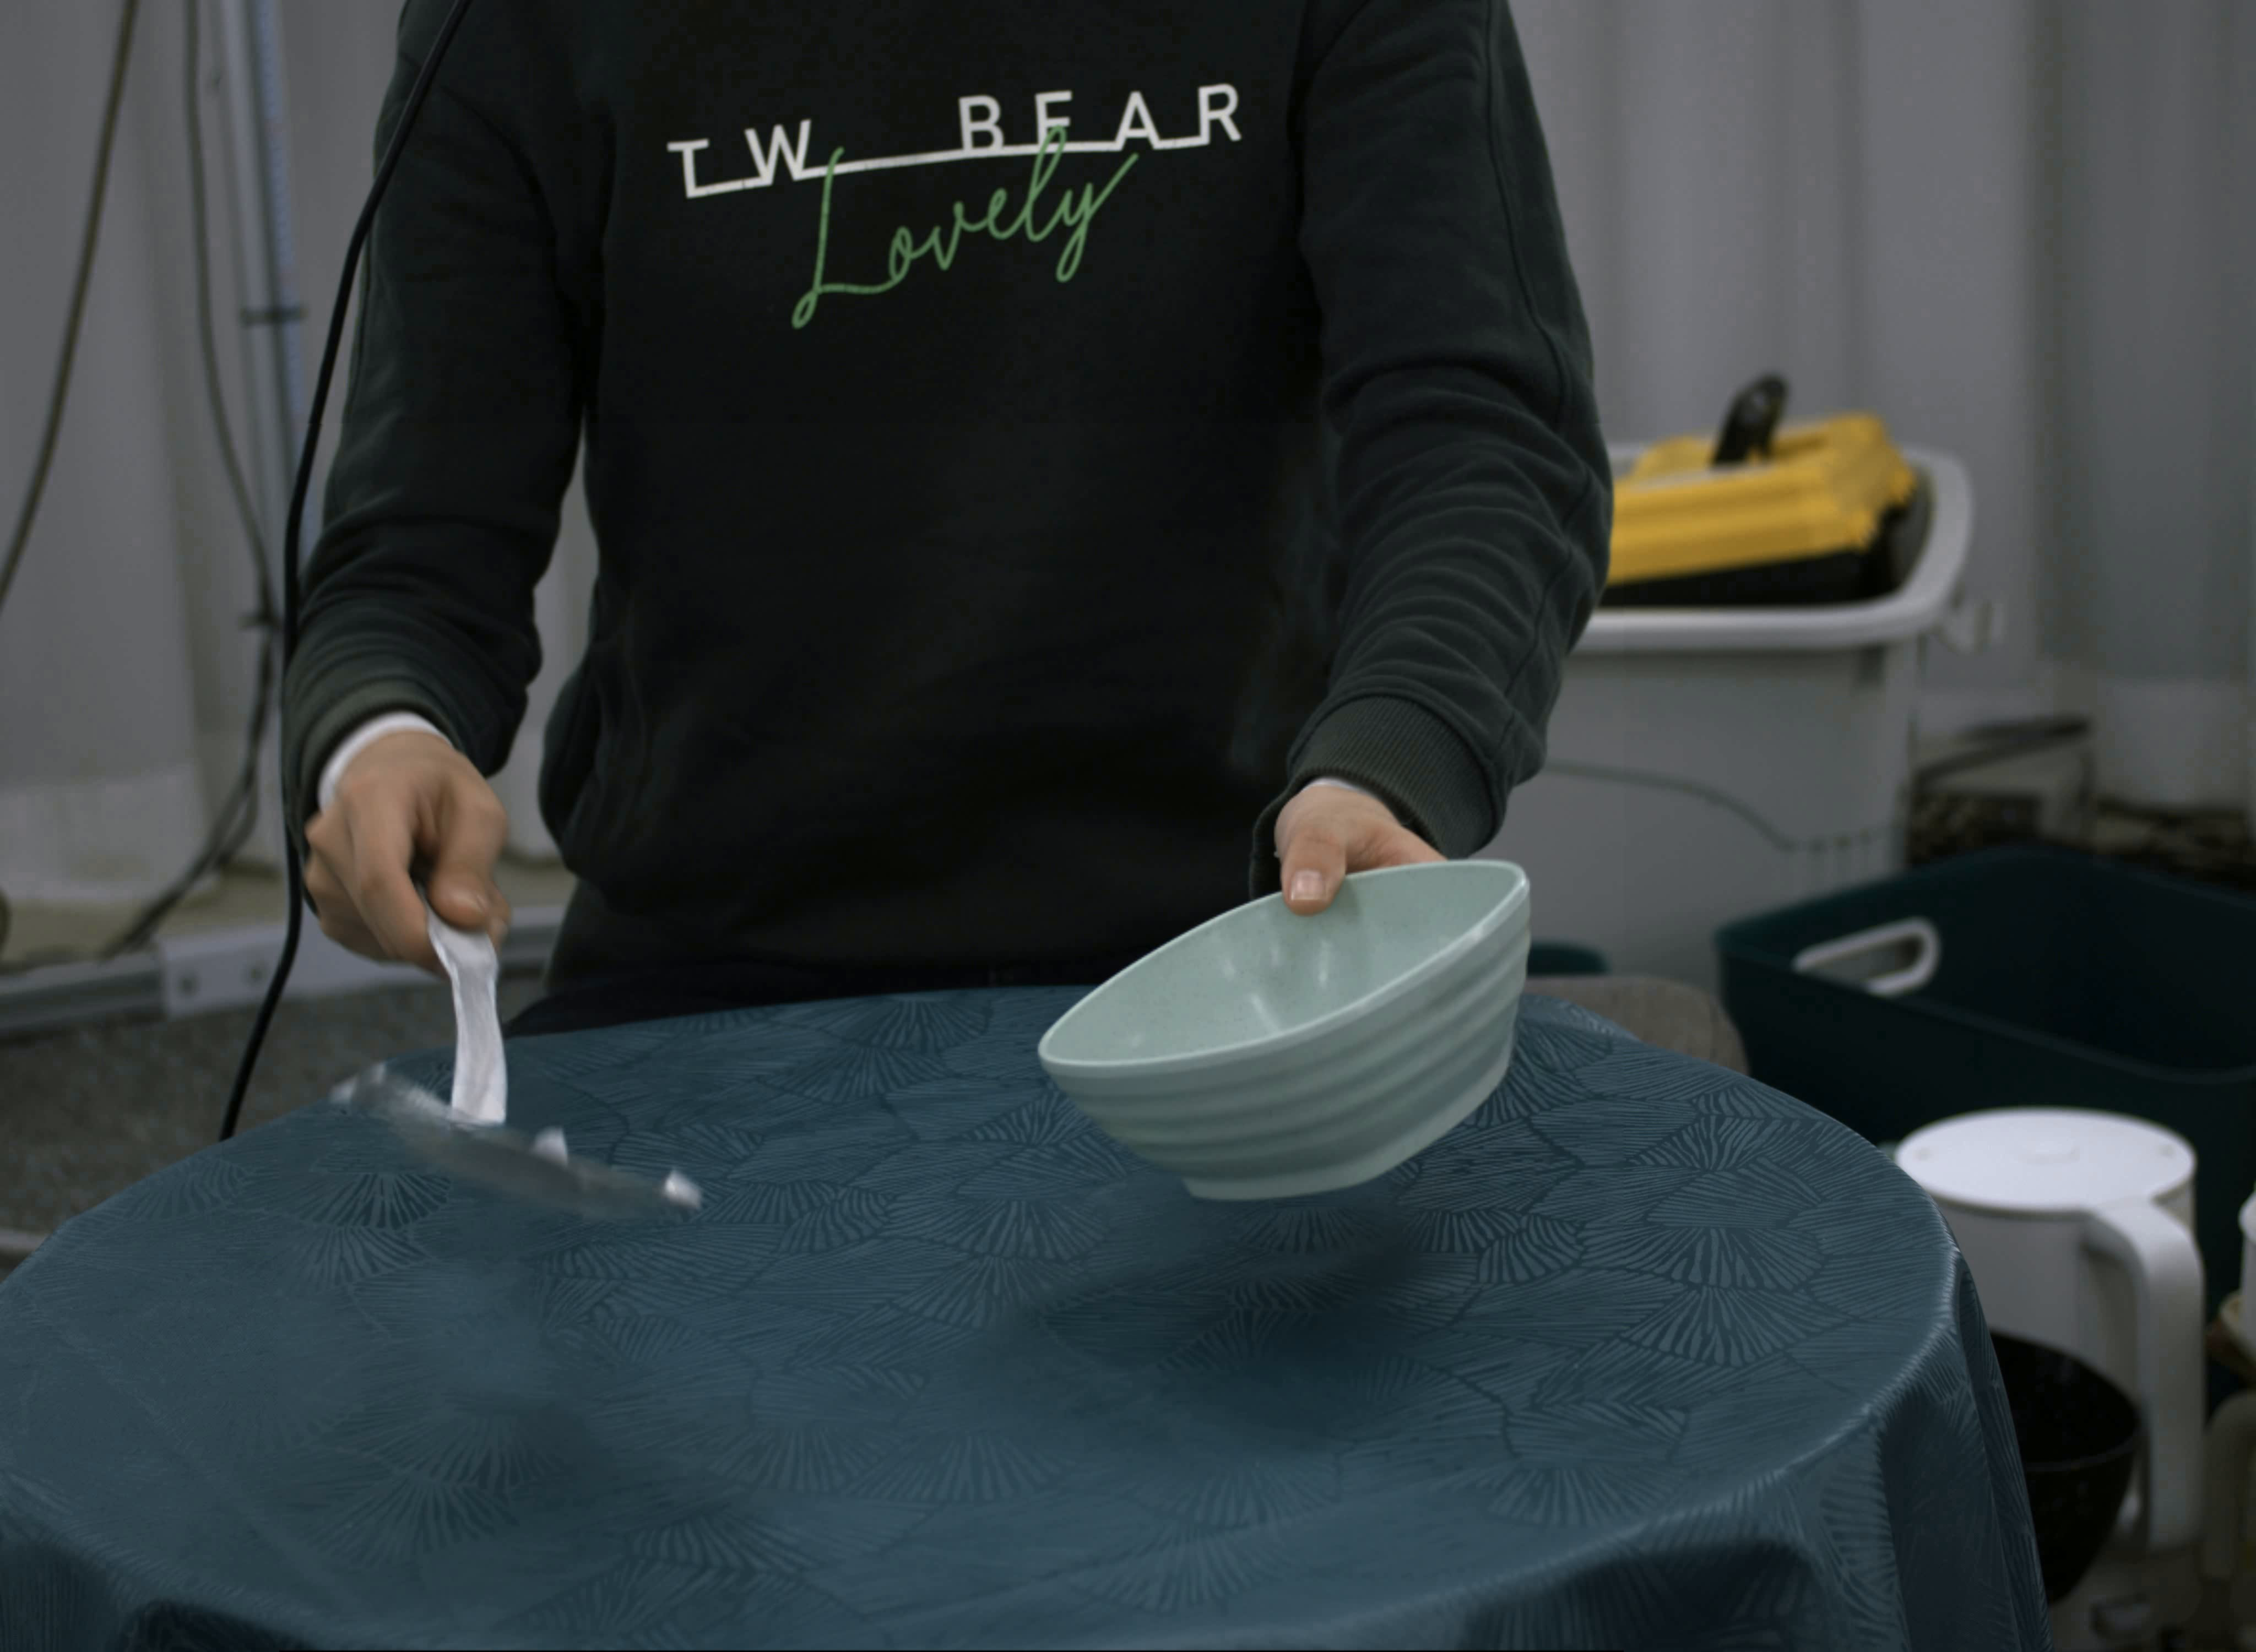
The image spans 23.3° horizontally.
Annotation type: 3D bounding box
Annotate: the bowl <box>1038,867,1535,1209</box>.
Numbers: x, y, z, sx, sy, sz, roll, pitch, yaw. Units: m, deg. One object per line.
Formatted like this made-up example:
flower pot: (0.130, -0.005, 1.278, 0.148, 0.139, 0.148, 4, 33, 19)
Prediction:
bowl: (0.053, 0.067, 1.592, 0.151, 0.058, 0.152, -18, 16, 5)

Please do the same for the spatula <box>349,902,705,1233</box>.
spatula: (-0.186, 0.059, 1.615, 0.098, 0.044, 0.368, 20, 11, -13)
